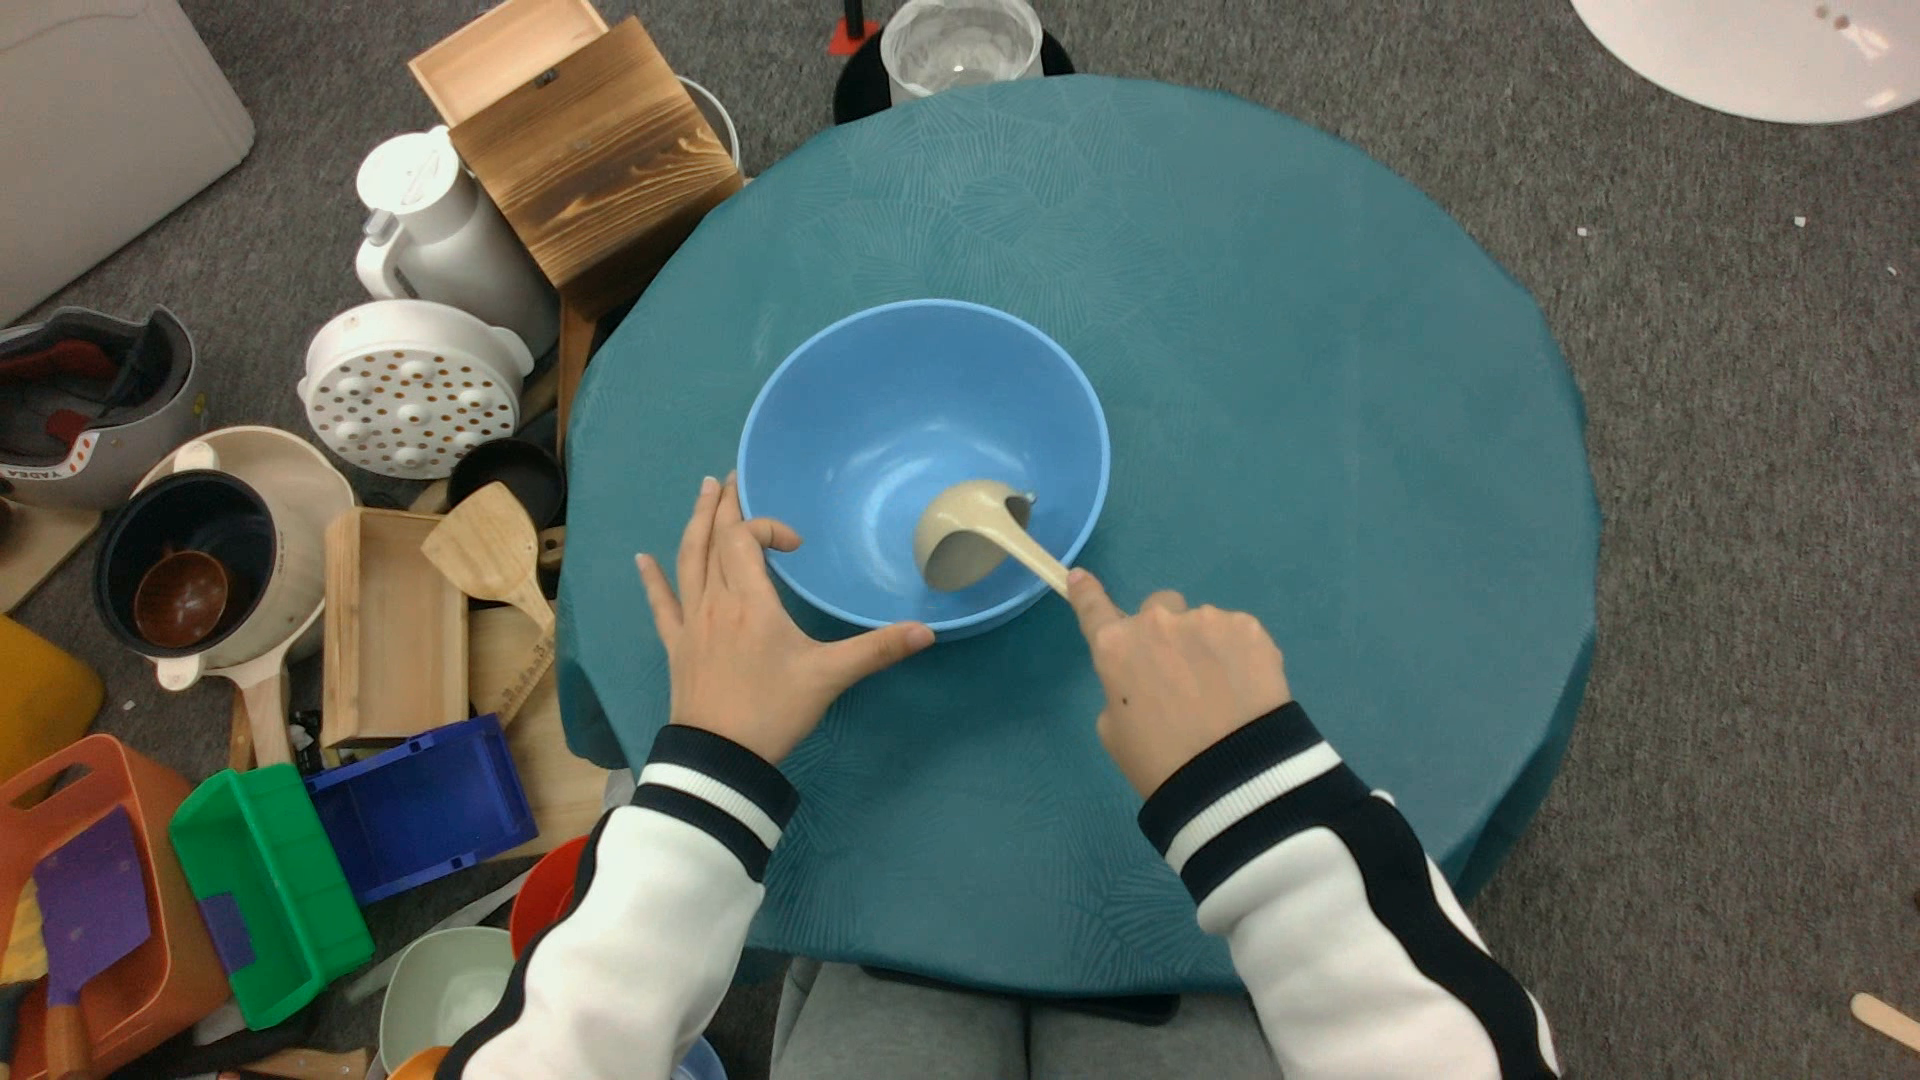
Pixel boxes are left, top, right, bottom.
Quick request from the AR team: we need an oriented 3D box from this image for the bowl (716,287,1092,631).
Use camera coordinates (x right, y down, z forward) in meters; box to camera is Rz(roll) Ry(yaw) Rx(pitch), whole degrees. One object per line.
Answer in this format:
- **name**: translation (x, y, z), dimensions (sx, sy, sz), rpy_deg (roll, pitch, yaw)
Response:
- **bowl**: translation (-0.028, -0.032, 0.759), dimensions (0.196, 0.095, 0.197), rpy_deg (0, 66, 1)

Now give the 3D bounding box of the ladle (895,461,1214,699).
- **ladle**: translation (0.047, 0.034, 0.666), dimensions (0.072, 0.072, 0.254), rpy_deg (-32, 38, -14)
